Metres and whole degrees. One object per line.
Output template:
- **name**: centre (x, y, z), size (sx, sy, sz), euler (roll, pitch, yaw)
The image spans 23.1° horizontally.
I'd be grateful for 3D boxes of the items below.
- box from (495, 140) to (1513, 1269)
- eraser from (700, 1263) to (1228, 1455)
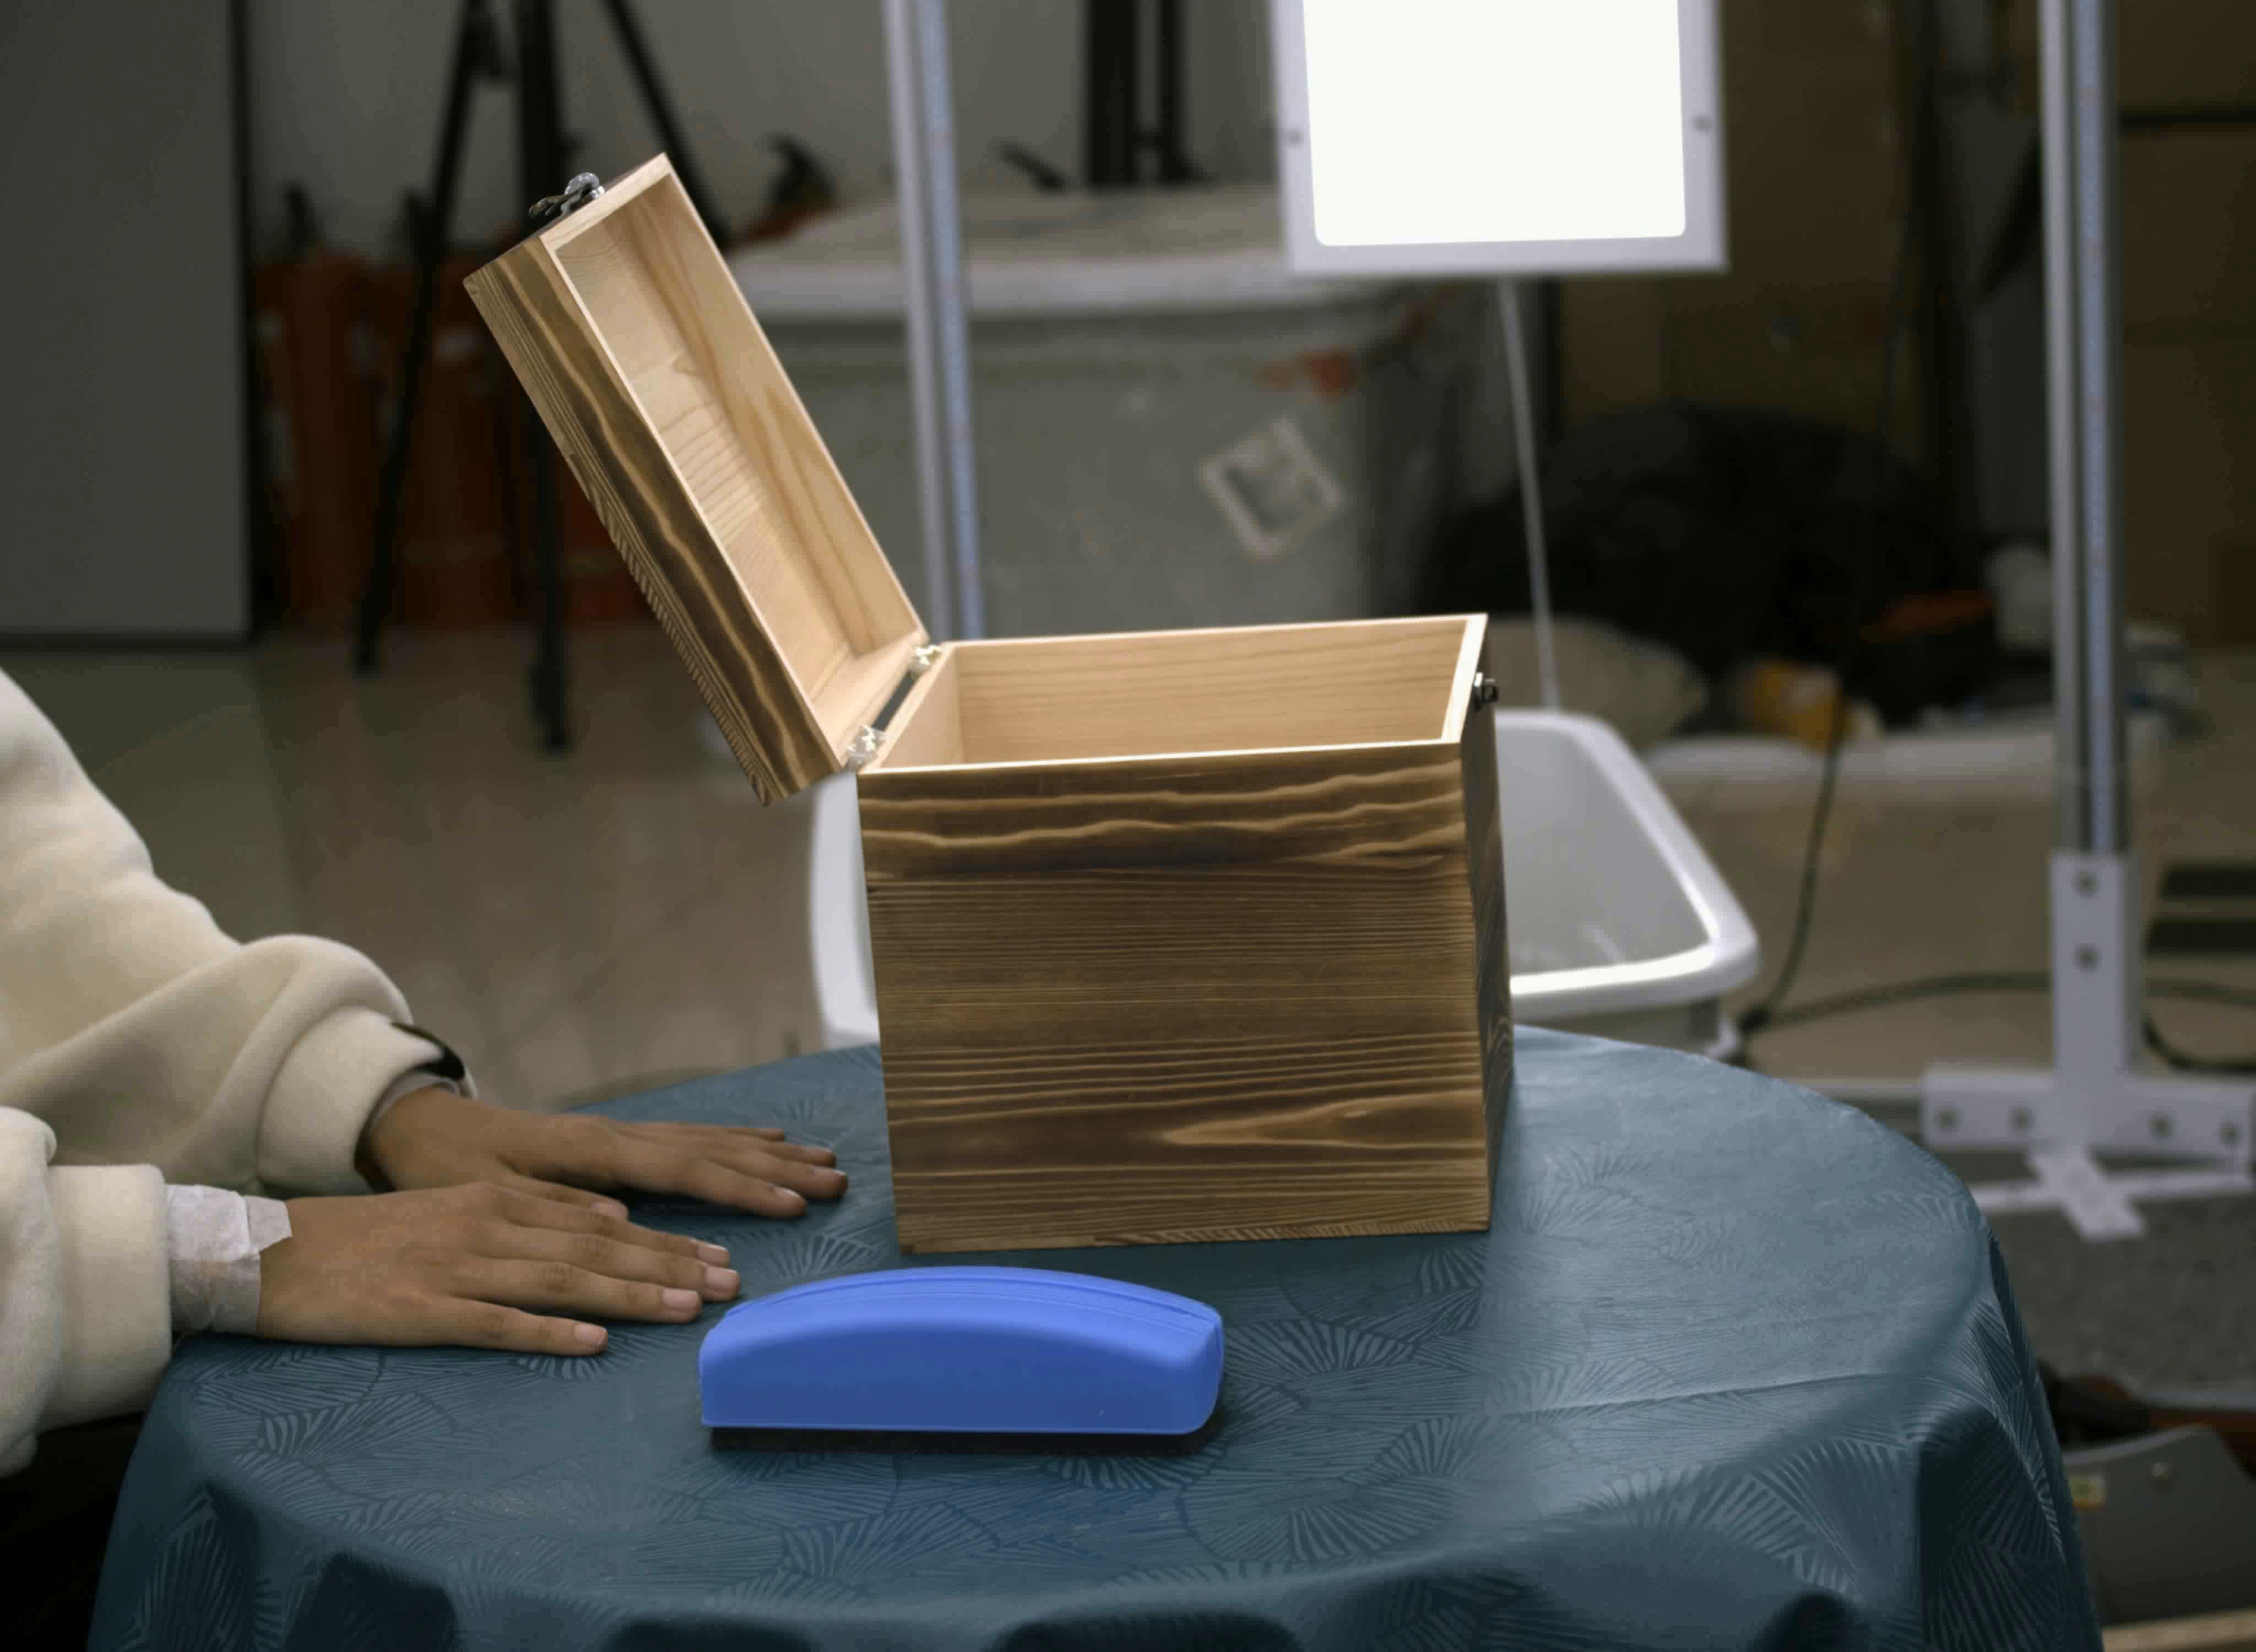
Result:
- **box**: centre (-0.033, -0.053, 1.896), size (0.324, 0.377, 0.207), euler (-4, 14, 9)
- **eraser**: centre (-0.051, 0.161, 1.678), size (0.164, 0.048, 0.053), euler (0, 14, 16)
